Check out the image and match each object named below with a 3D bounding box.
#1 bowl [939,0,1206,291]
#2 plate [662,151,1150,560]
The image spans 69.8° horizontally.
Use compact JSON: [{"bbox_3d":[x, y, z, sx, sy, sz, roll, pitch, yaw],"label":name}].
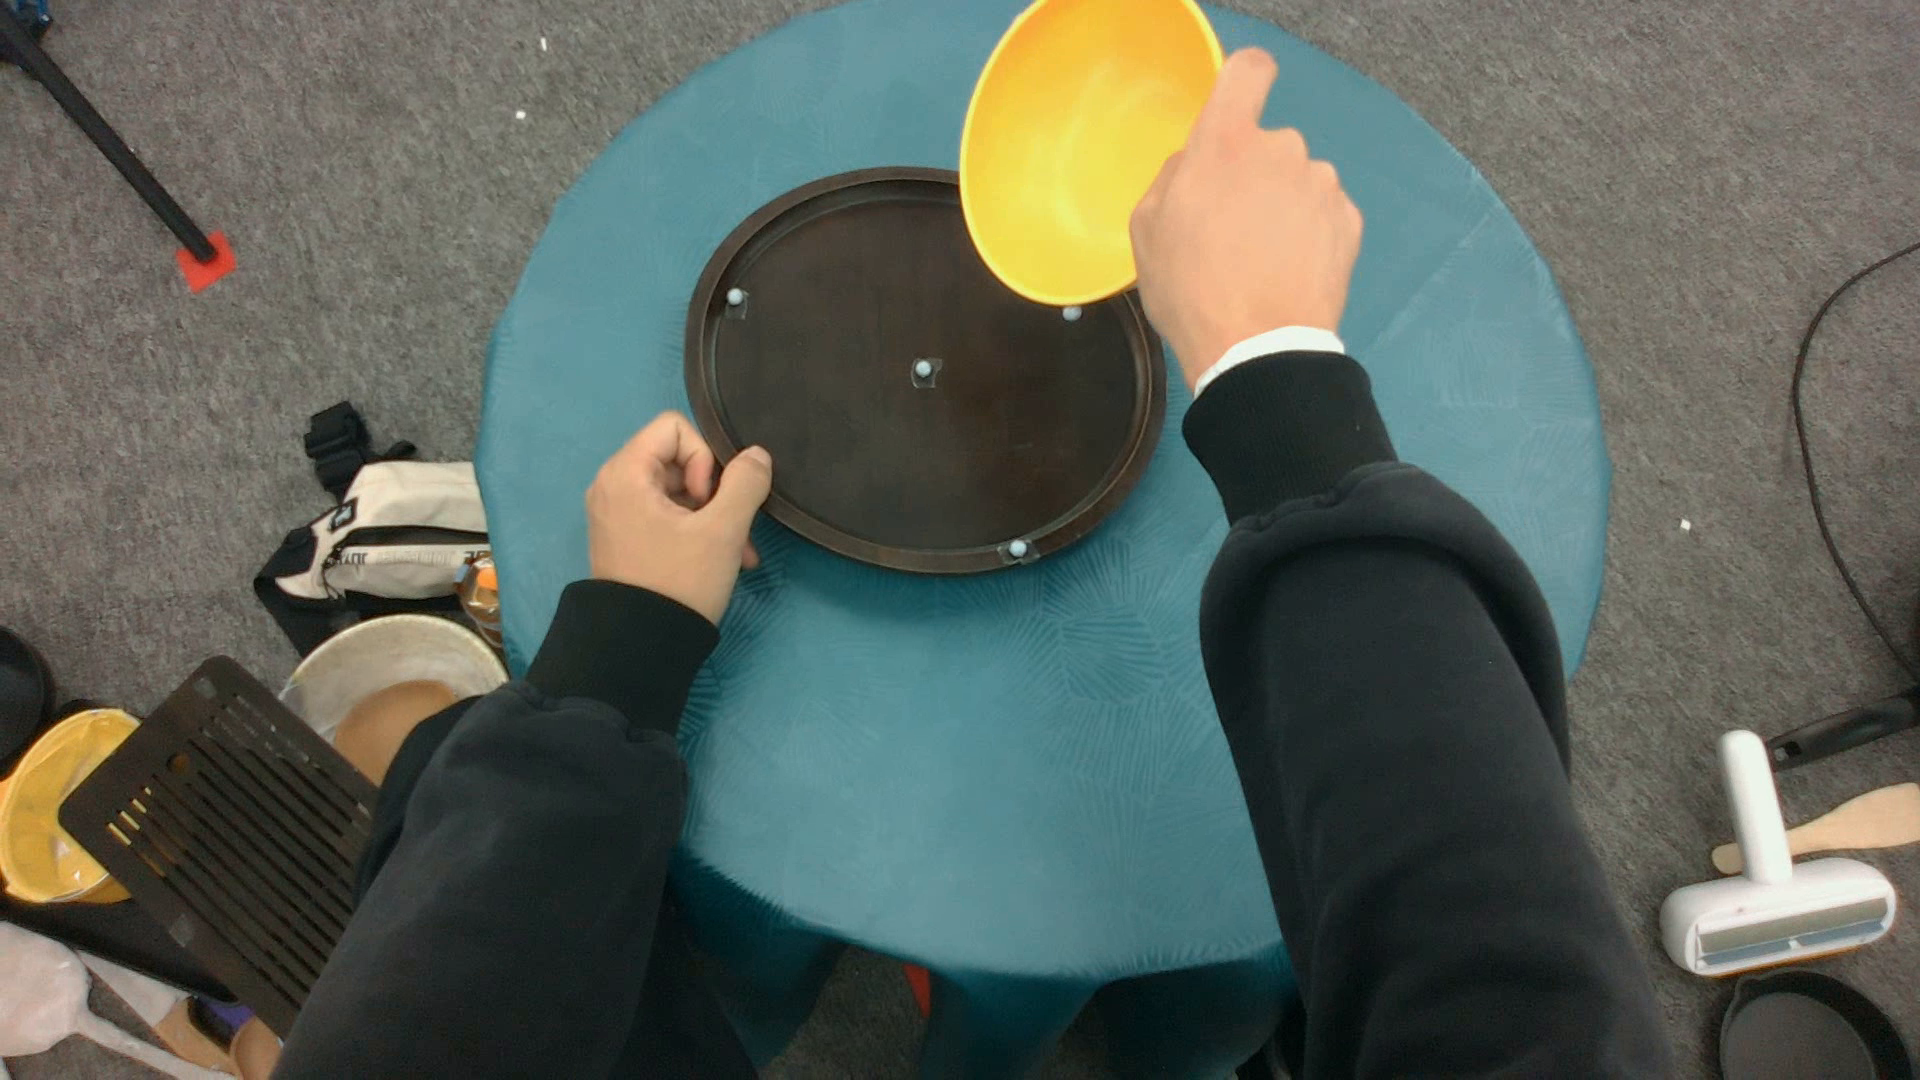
[{"bbox_3d":[0.061,-0.184,0.638,0.060,0.144,0.145,1,58,-48],"label":"bowl"},{"bbox_3d":[-0.026,-0.101,0.715,0.255,0.029,0.256,5,63,-10],"label":"plate"}]
